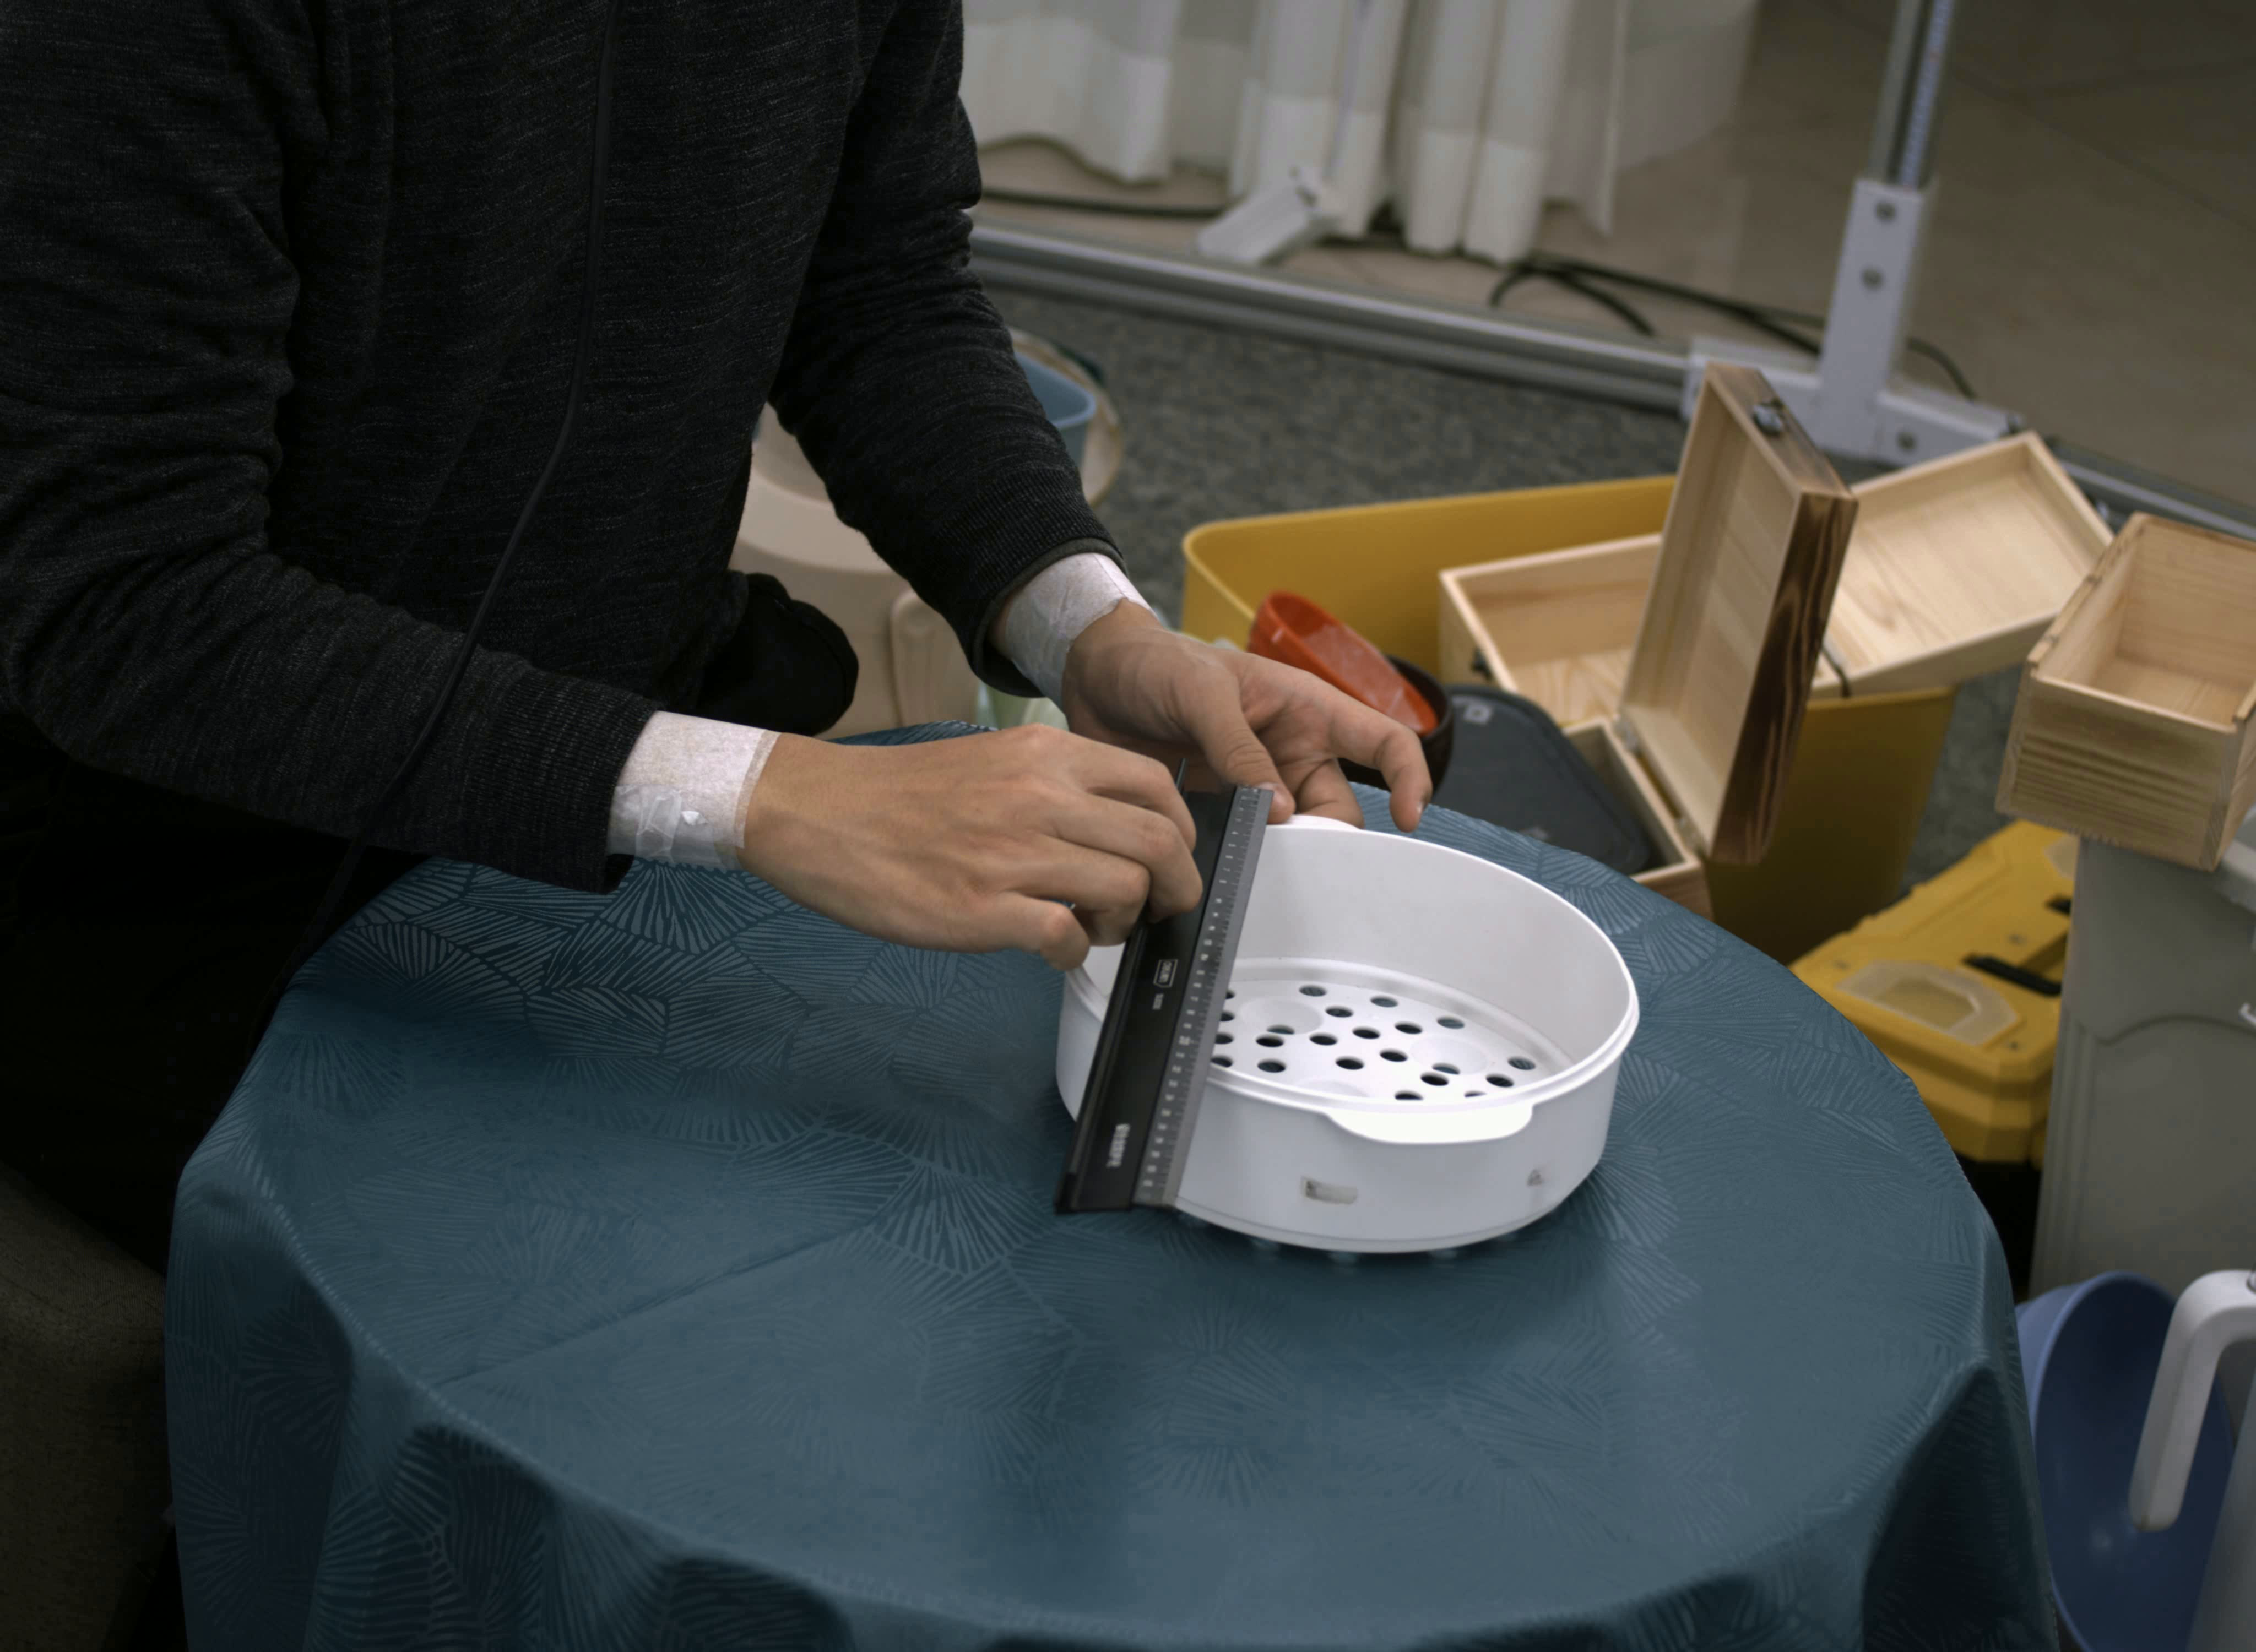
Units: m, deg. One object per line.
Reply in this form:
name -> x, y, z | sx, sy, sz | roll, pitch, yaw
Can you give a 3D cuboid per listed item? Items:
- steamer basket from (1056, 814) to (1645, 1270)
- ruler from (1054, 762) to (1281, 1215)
steamer basket -> 0.075, 0.076, 1.837 | 0.201, 0.069, 0.232 | -2, 30, -16
ruler -> 0.015, 0.047, 1.769 | 0.039, 0.017, 0.314 | -1, 25, 9
